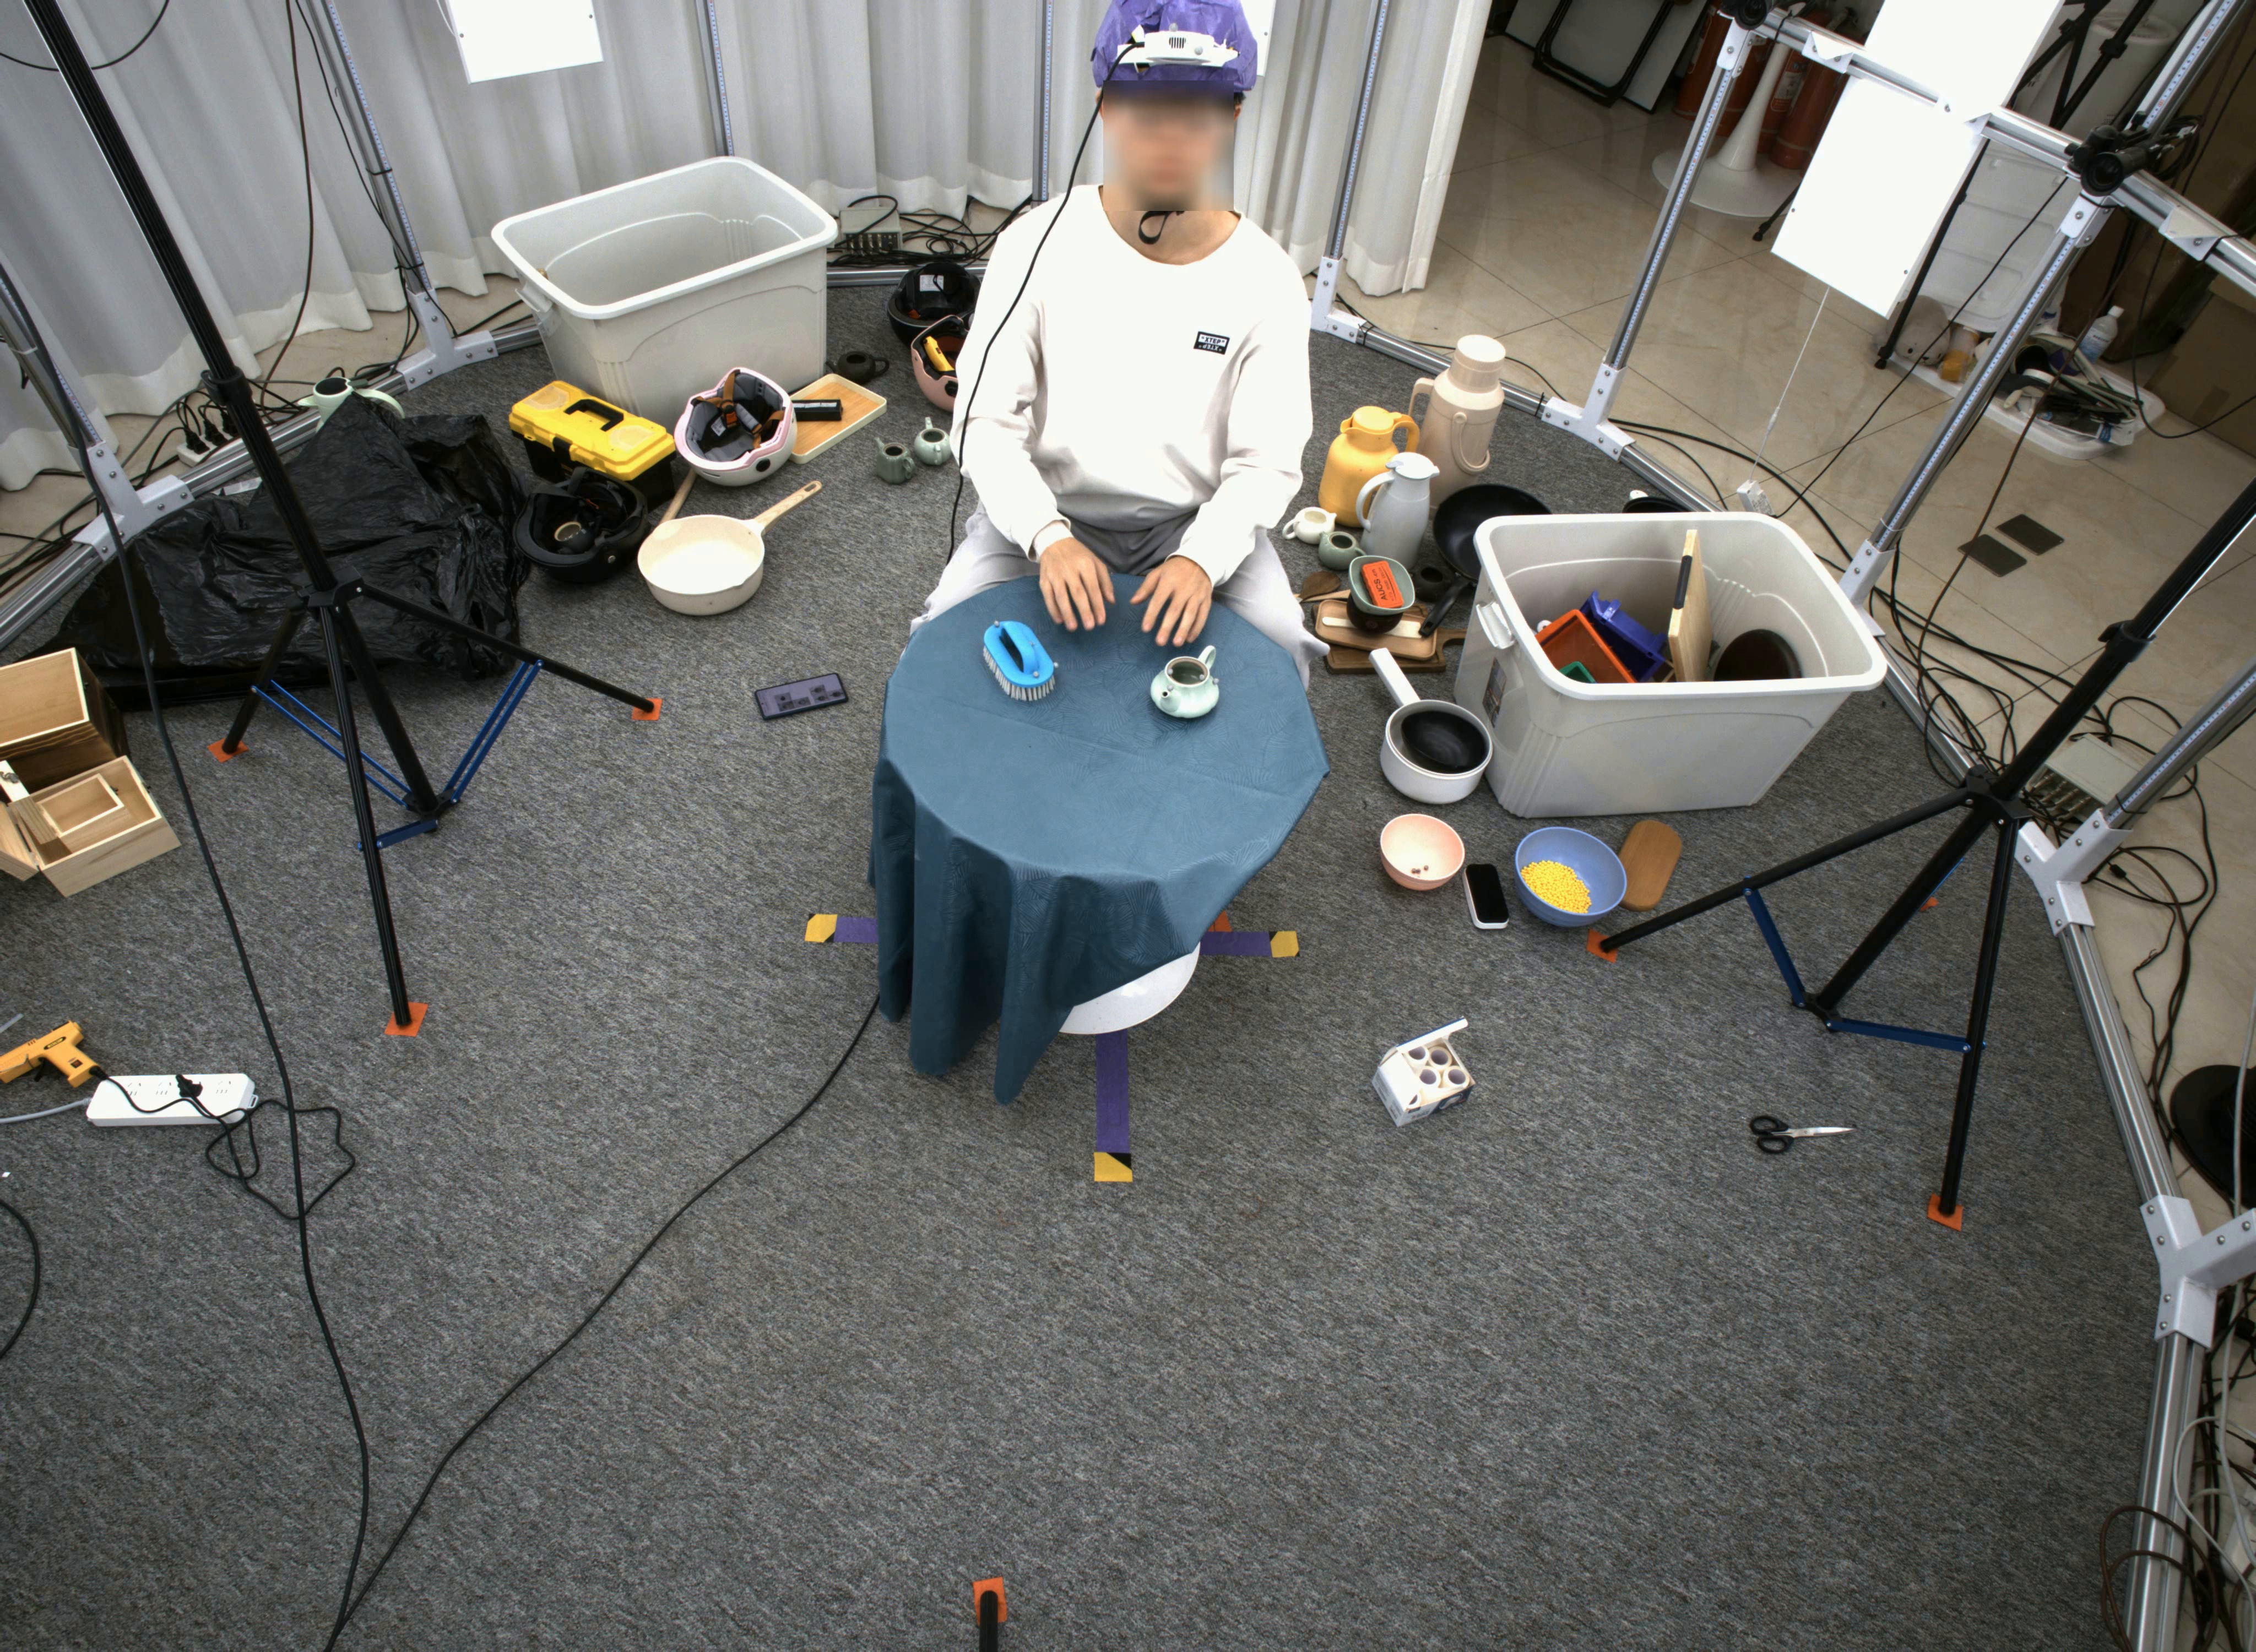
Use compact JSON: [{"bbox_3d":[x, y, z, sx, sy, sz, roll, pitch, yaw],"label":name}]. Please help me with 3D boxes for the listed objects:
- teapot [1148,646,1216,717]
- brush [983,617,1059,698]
[{"bbox_3d":[0.079,-0.200,1.805,0.097,0.060,0.139,23,49,21],"label":"teapot"},{"bbox_3d":[-0.155,-0.250,1.828,0.084,0.062,0.145,-20,53,-15],"label":"brush"}]
